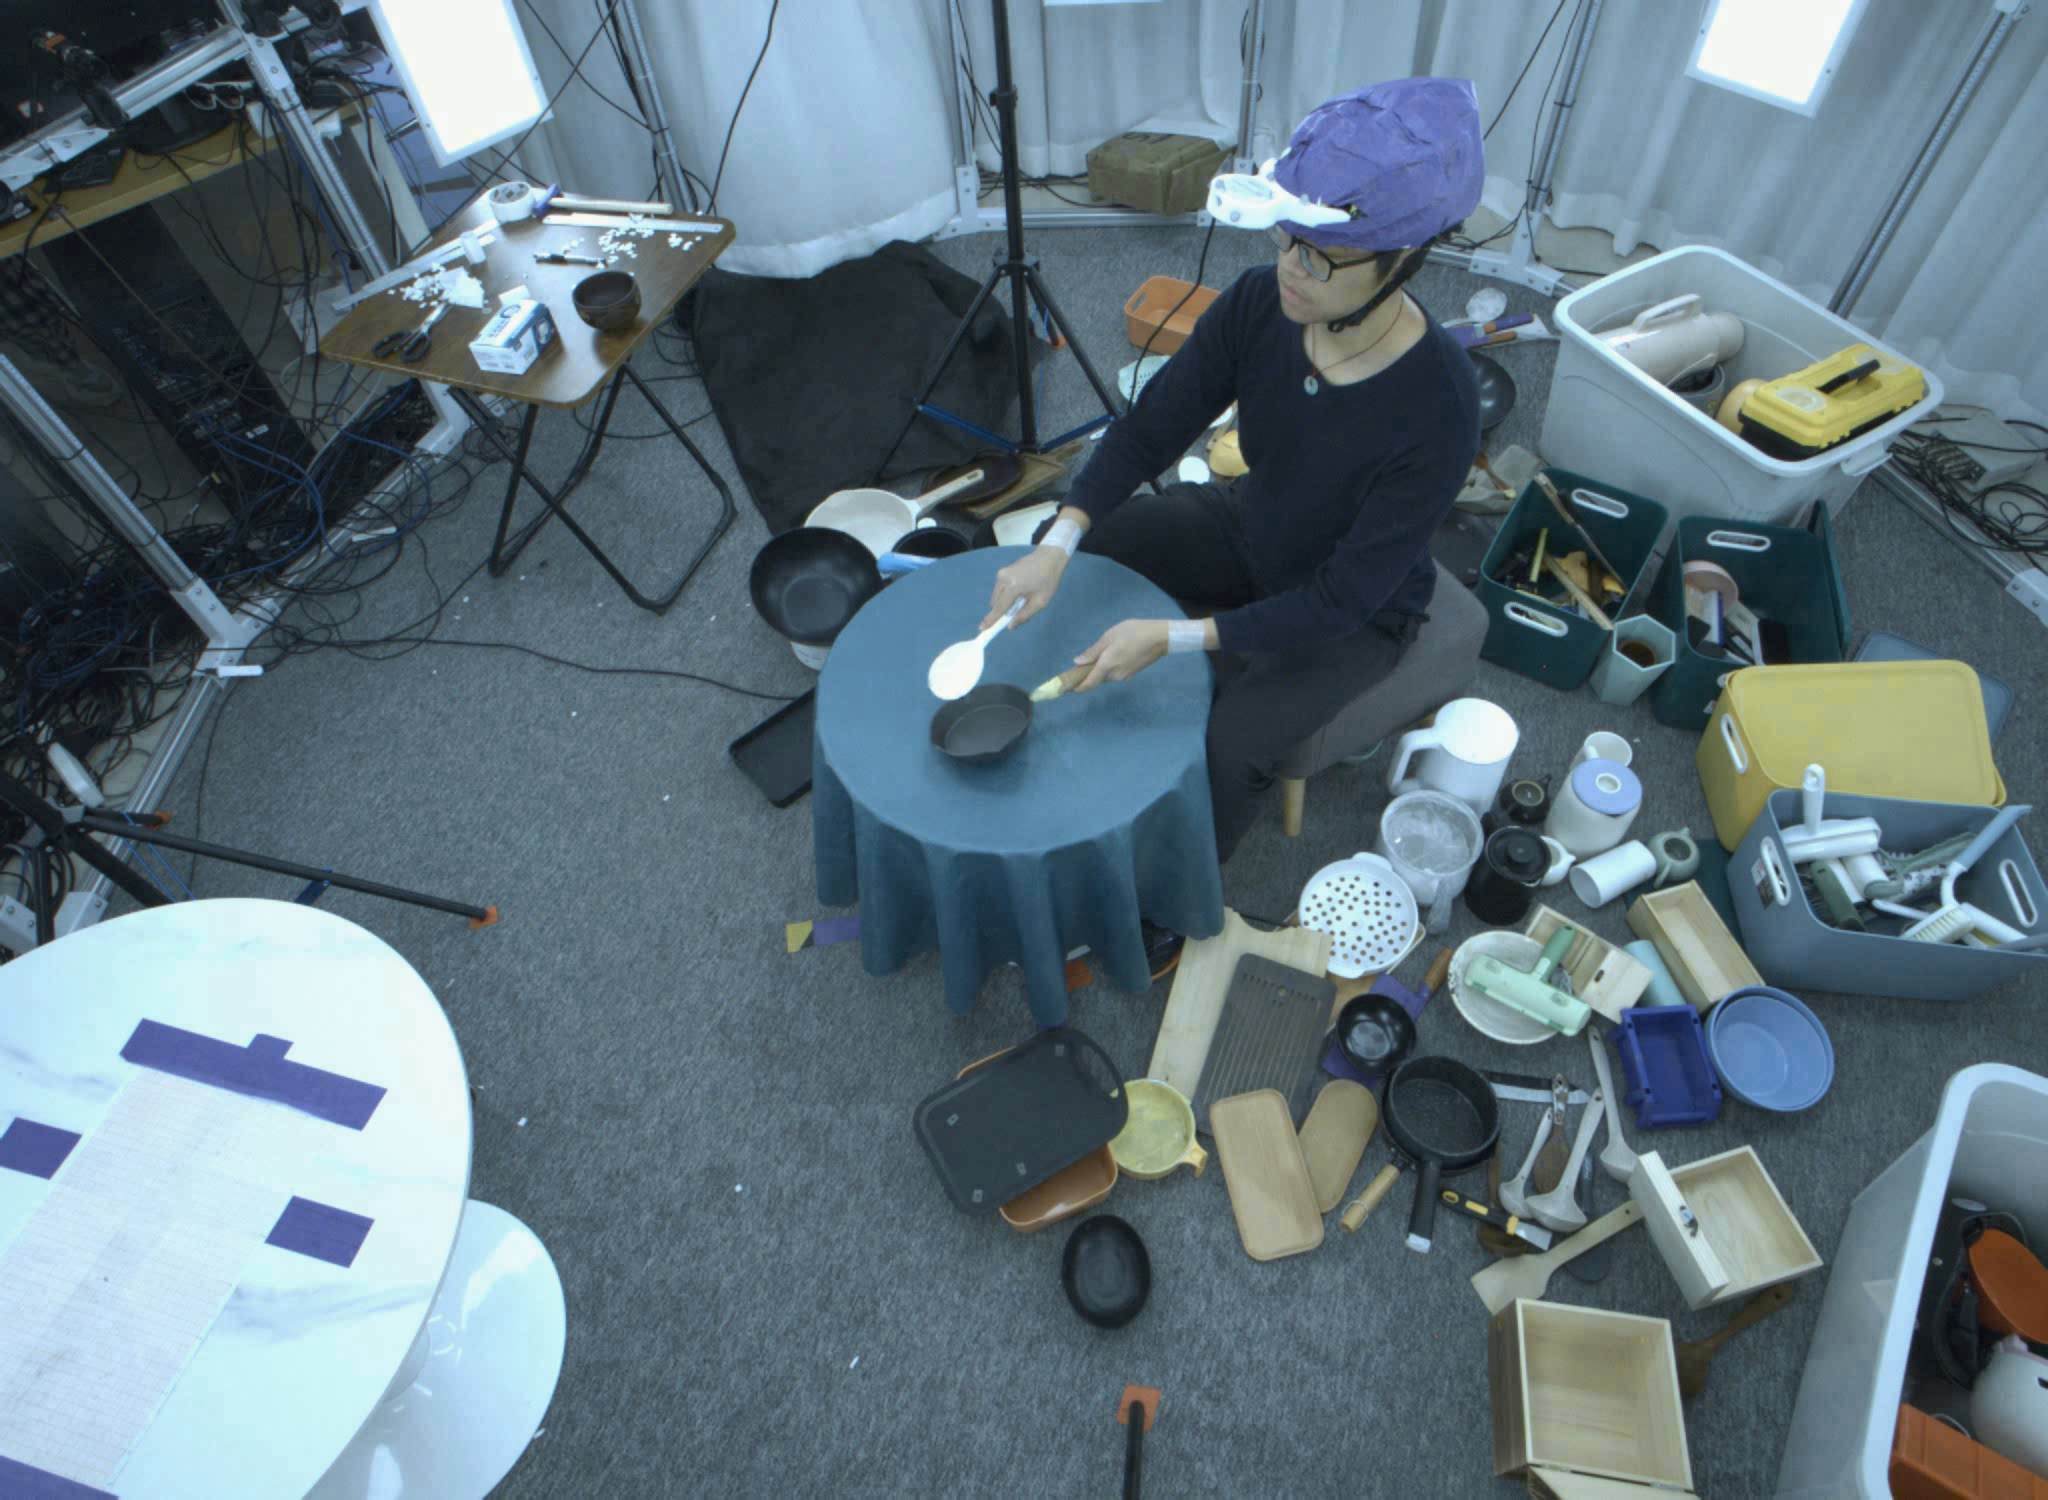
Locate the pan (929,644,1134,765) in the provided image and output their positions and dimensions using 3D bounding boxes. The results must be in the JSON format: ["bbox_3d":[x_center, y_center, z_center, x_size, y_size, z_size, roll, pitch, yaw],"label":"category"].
[{"bbox_3d":[0.017,-0.073,1.775,0.325,0.050,0.165,-24,41,-4],"label":"pan"}]

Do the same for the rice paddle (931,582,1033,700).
[{"bbox_3d":[-0.062,-0.159,1.804,0.069,0.029,0.205,39,90,-15],"label":"rice paddle"}]
